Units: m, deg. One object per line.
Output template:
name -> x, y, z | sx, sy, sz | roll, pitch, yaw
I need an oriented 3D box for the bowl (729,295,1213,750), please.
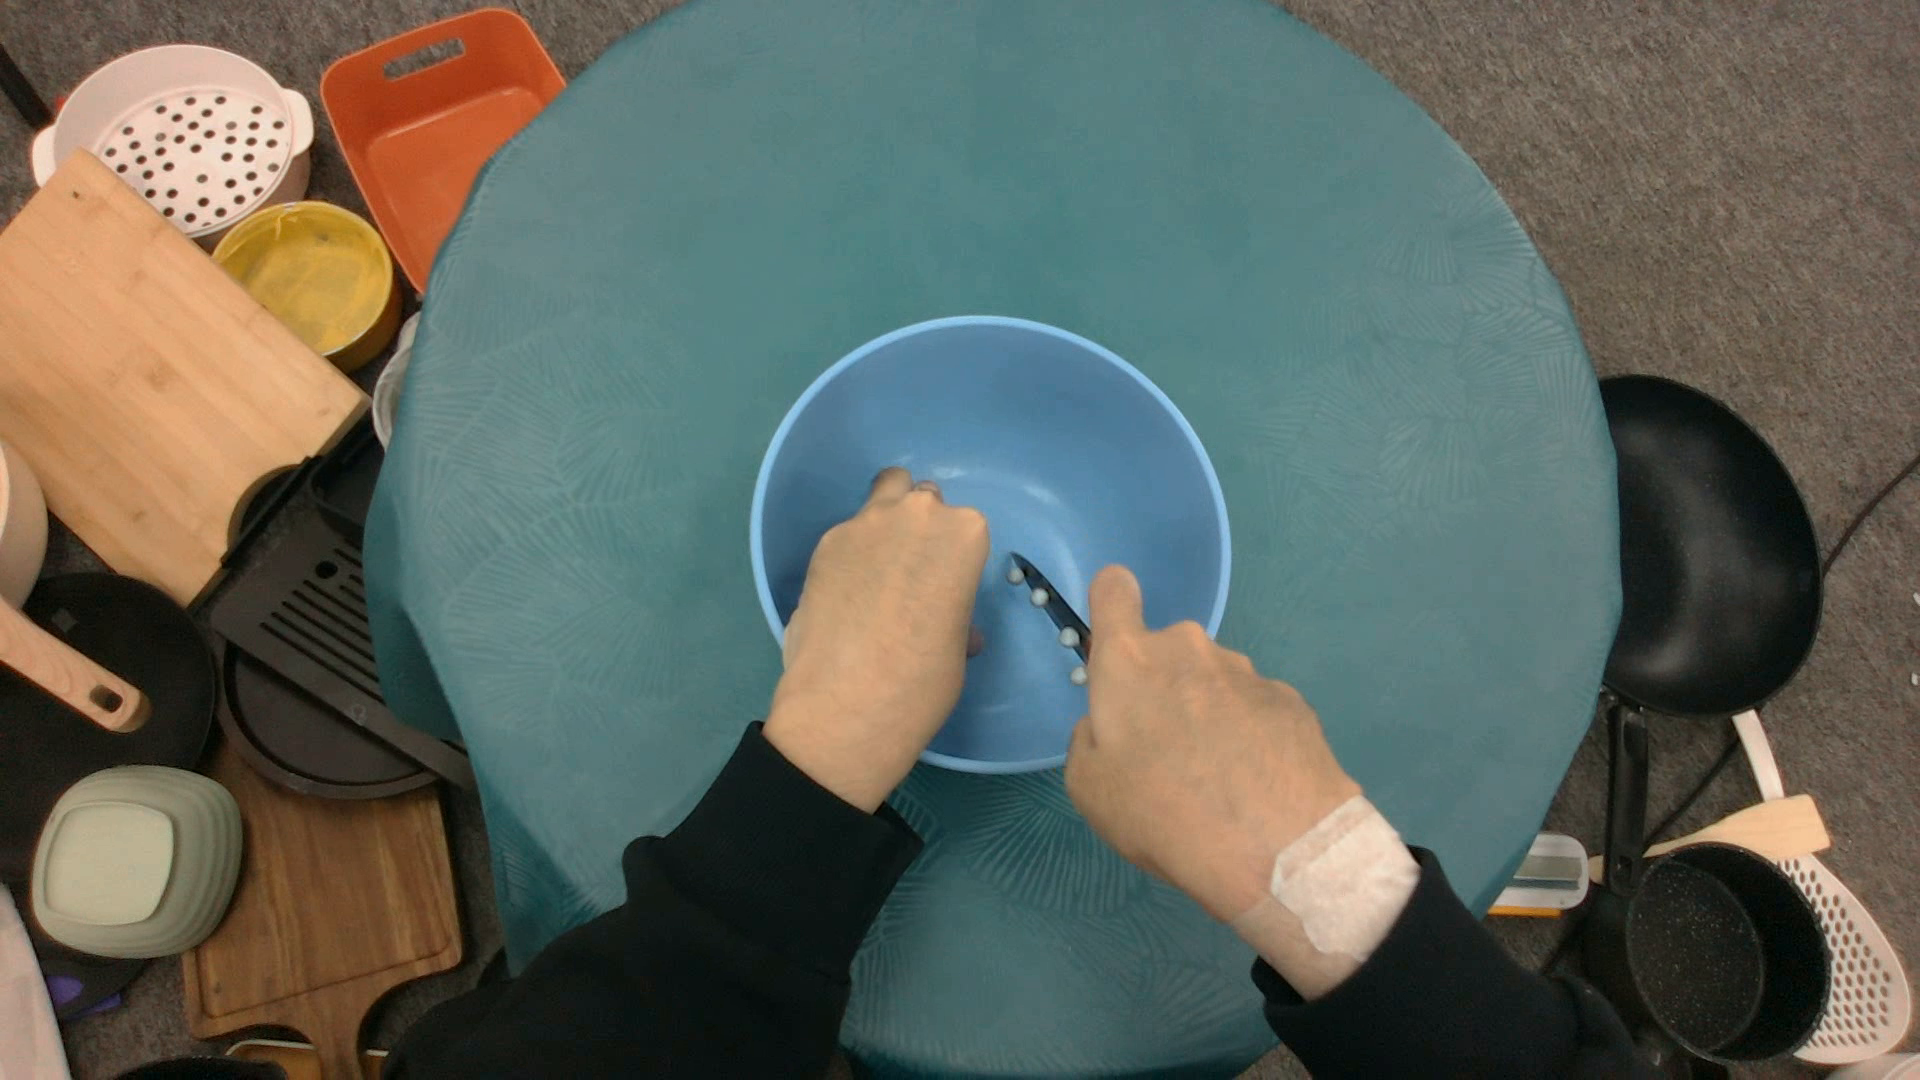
bowl -> 0.001, 0.003, 0.594 | 0.196, 0.095, 0.197 | 3, 68, -7

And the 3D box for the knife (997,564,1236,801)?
knife -> 0.050, 0.043, 0.539 | 0.017, 0.226, 0.026 | -20, 113, -11
